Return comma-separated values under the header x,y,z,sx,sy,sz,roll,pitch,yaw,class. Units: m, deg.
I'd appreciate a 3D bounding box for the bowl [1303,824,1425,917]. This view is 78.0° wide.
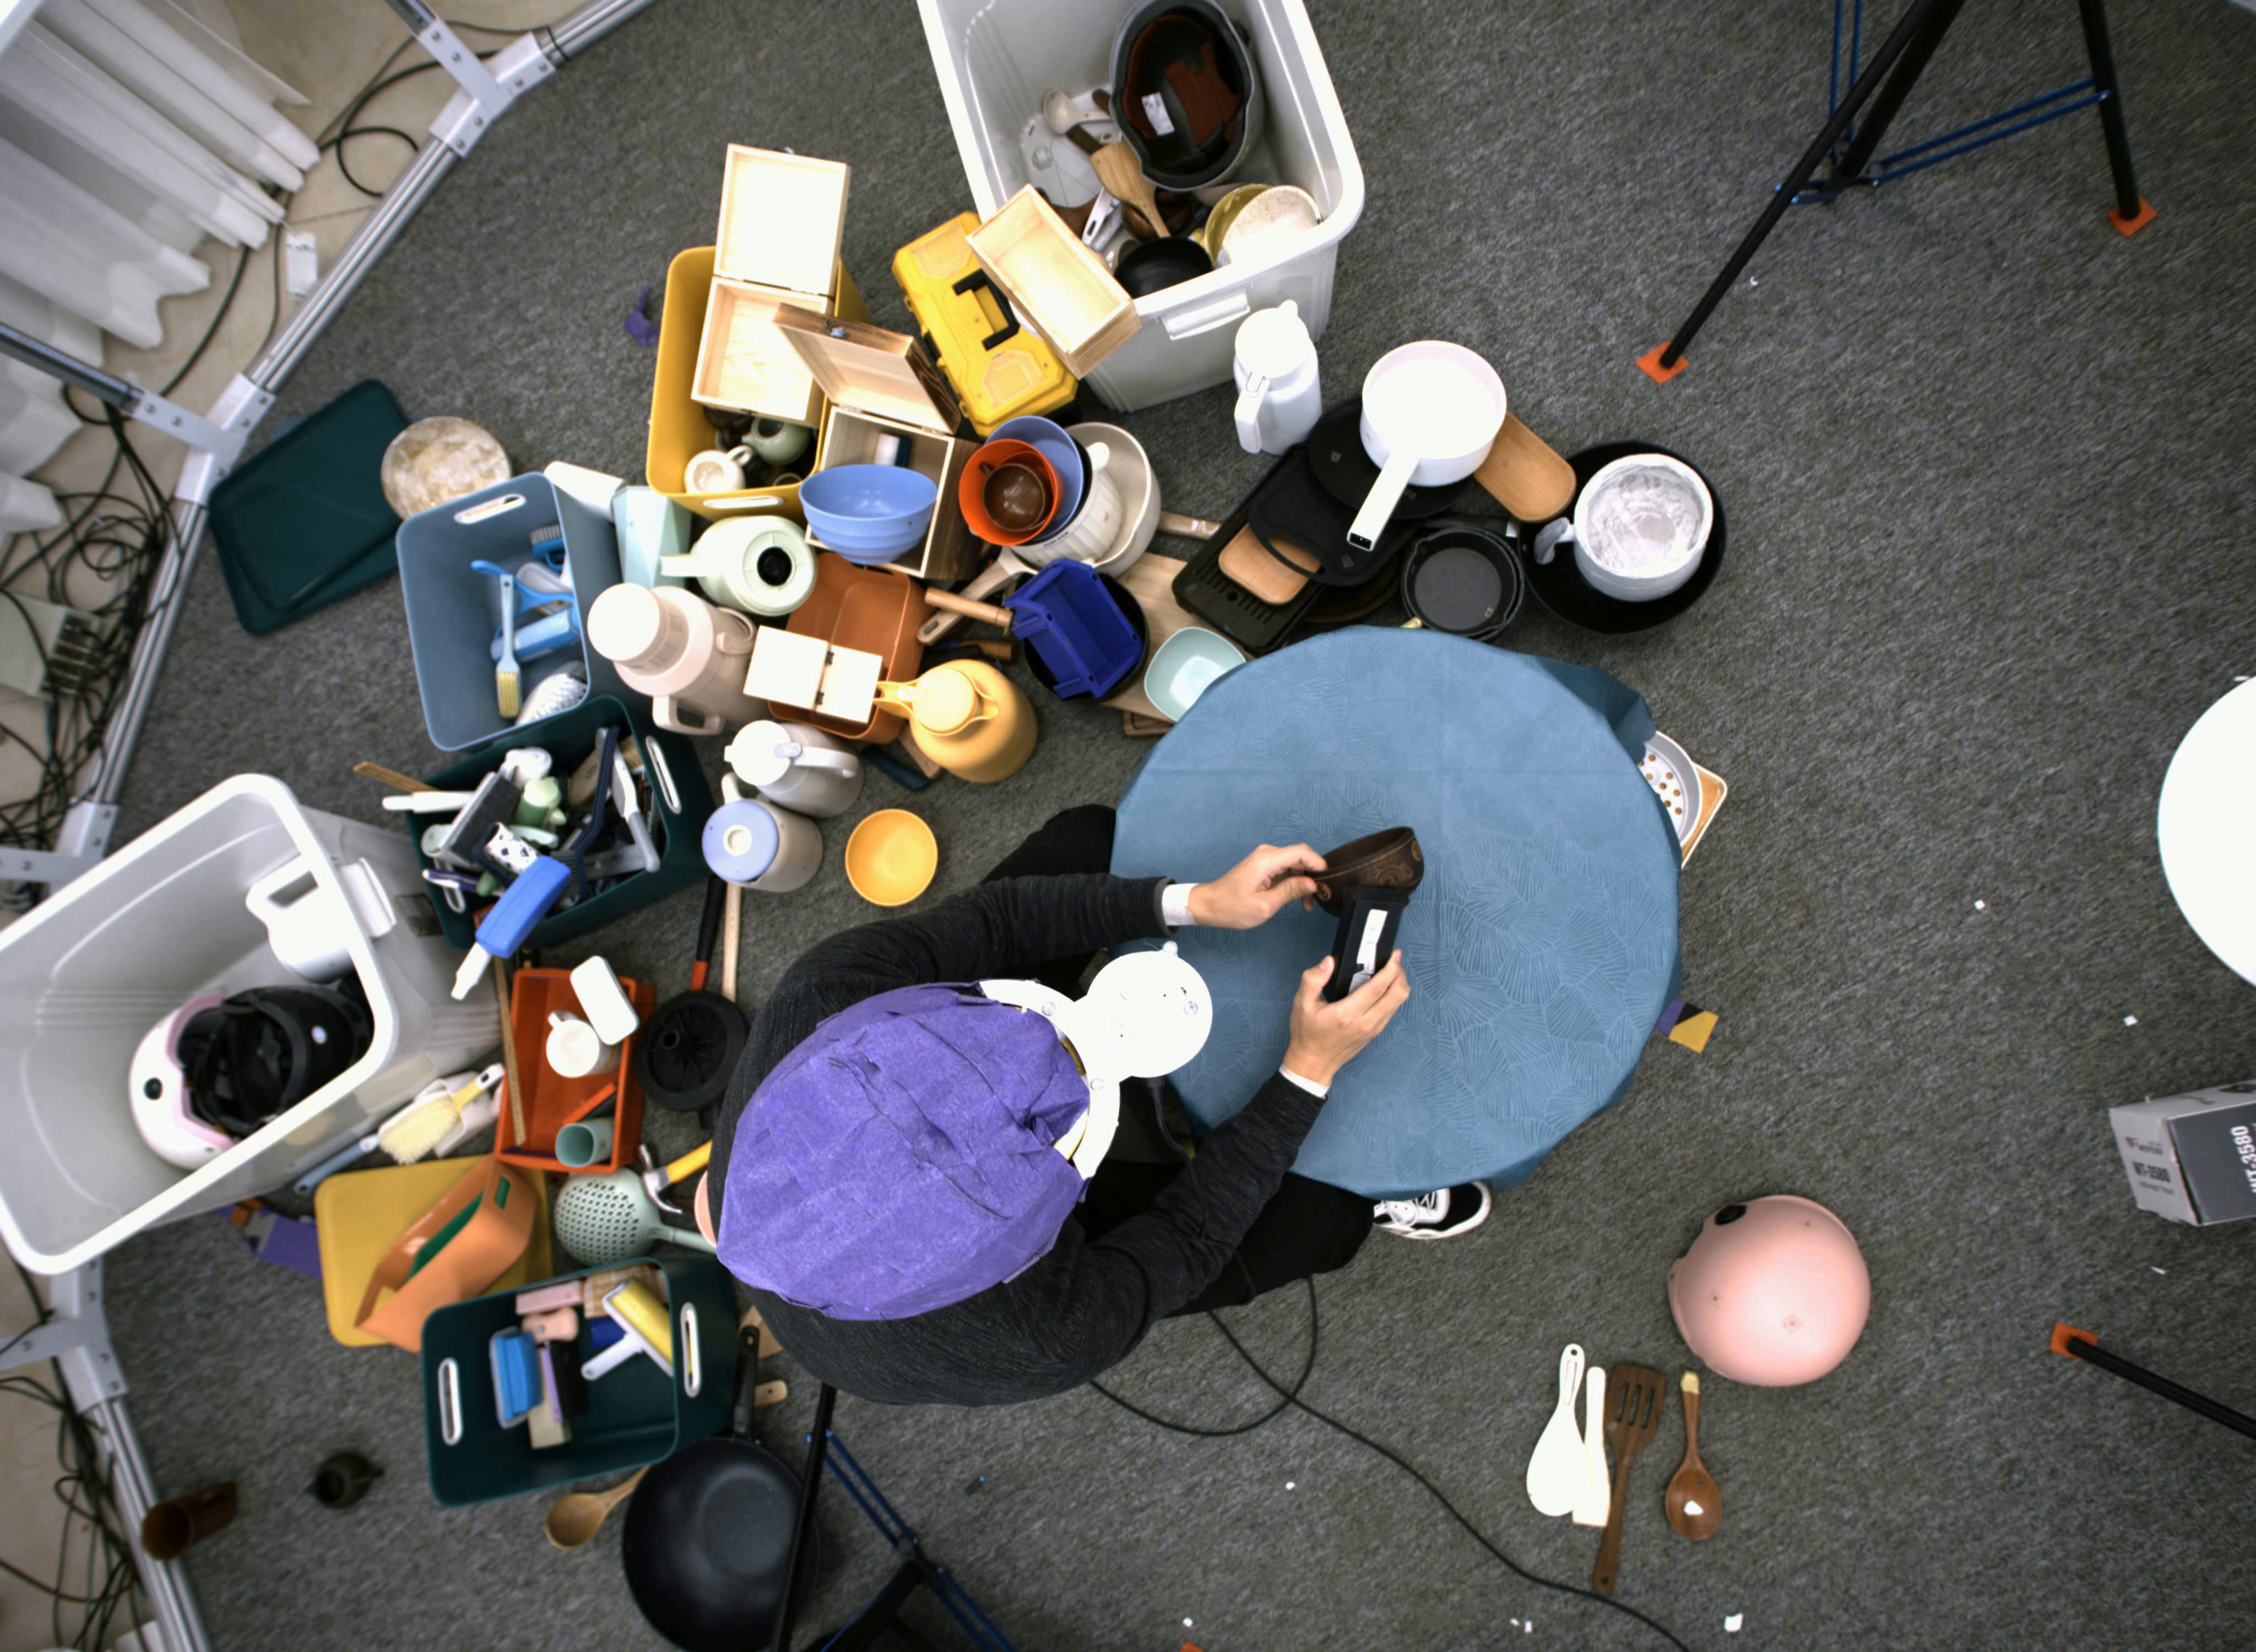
x,y,z,sx,sy,sz,roll,pitch,yaw,class
0.239,0.052,1.366,0.118,0.117,0.070,-25,96,7,bowl

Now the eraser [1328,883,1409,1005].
x,y,z,sx,sy,sz,roll,pitch,yaw,class
0.229,0.113,1.327,0.053,0.030,0.128,5,122,-4,eraser
